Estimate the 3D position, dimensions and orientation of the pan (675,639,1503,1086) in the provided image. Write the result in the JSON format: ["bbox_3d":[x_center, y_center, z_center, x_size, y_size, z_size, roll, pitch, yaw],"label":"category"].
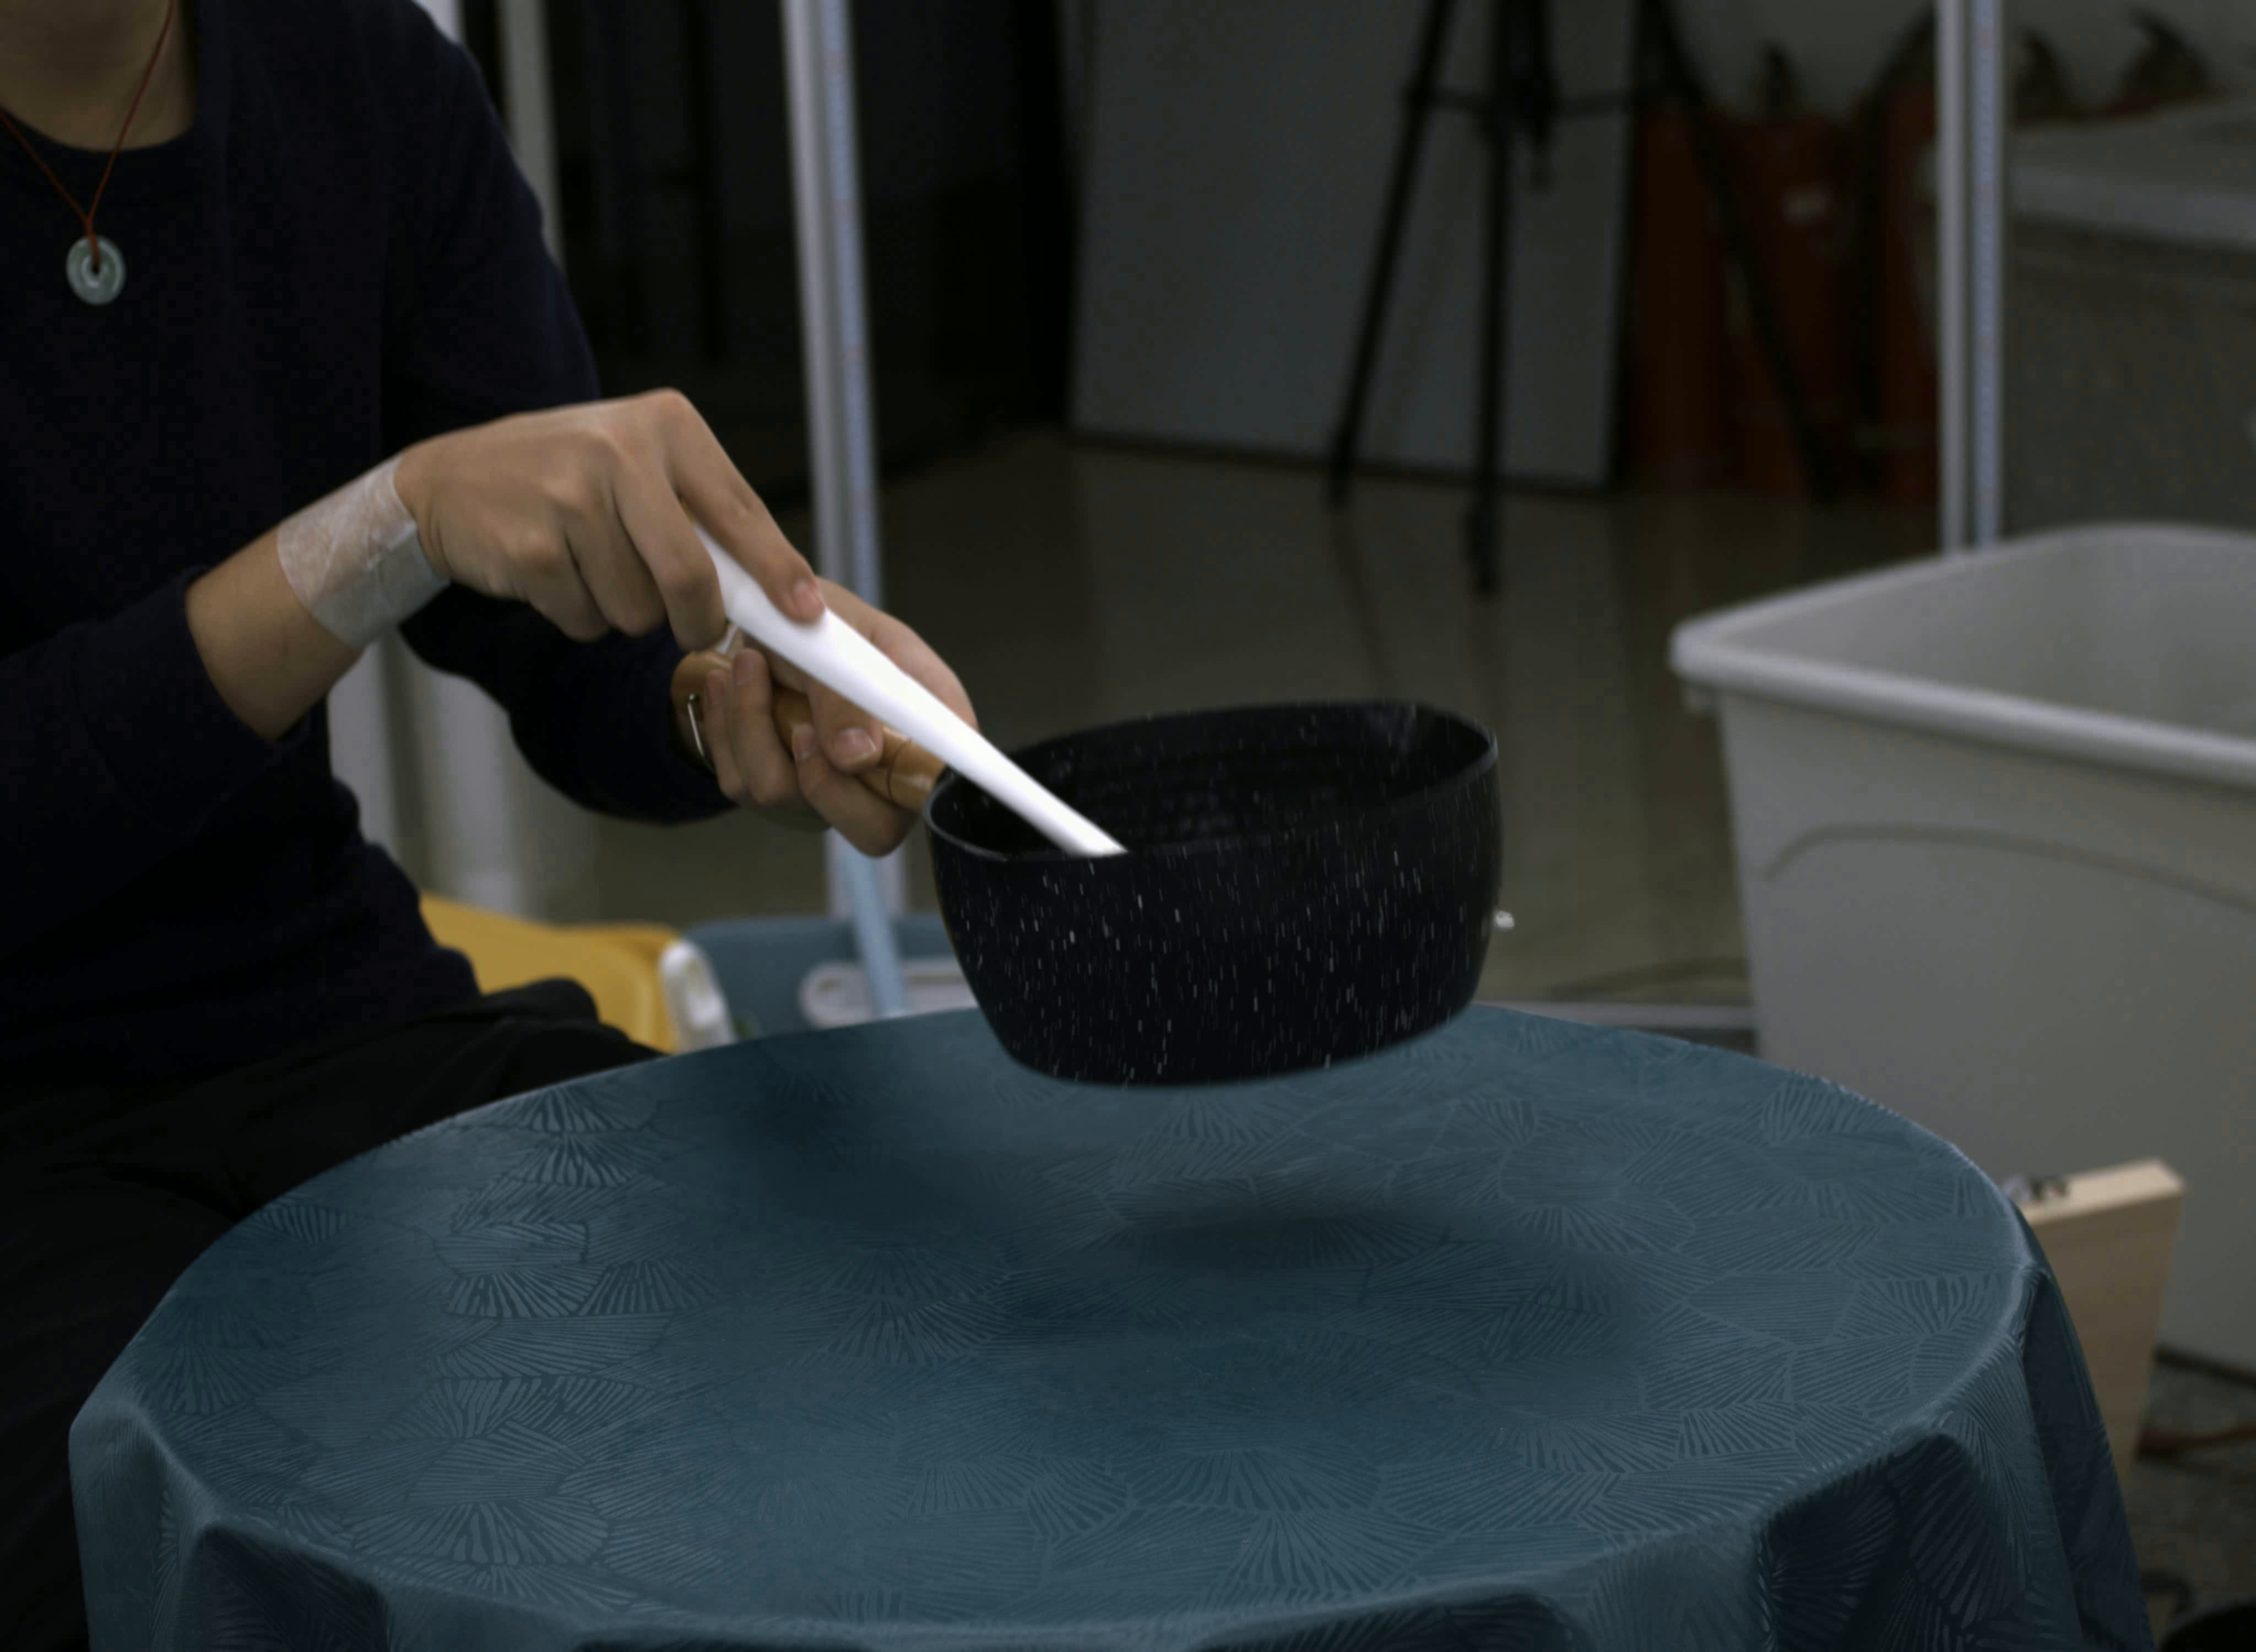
[{"bbox_3d":[-0.028,0.002,1.757,0.346,0.109,0.203,6,20,45],"label":"pan"}]

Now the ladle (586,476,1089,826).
[{"bbox_3d":[-0.052,-0.041,1.728,0.294,0.070,0.089,34,42,21],"label":"ladle"}]
